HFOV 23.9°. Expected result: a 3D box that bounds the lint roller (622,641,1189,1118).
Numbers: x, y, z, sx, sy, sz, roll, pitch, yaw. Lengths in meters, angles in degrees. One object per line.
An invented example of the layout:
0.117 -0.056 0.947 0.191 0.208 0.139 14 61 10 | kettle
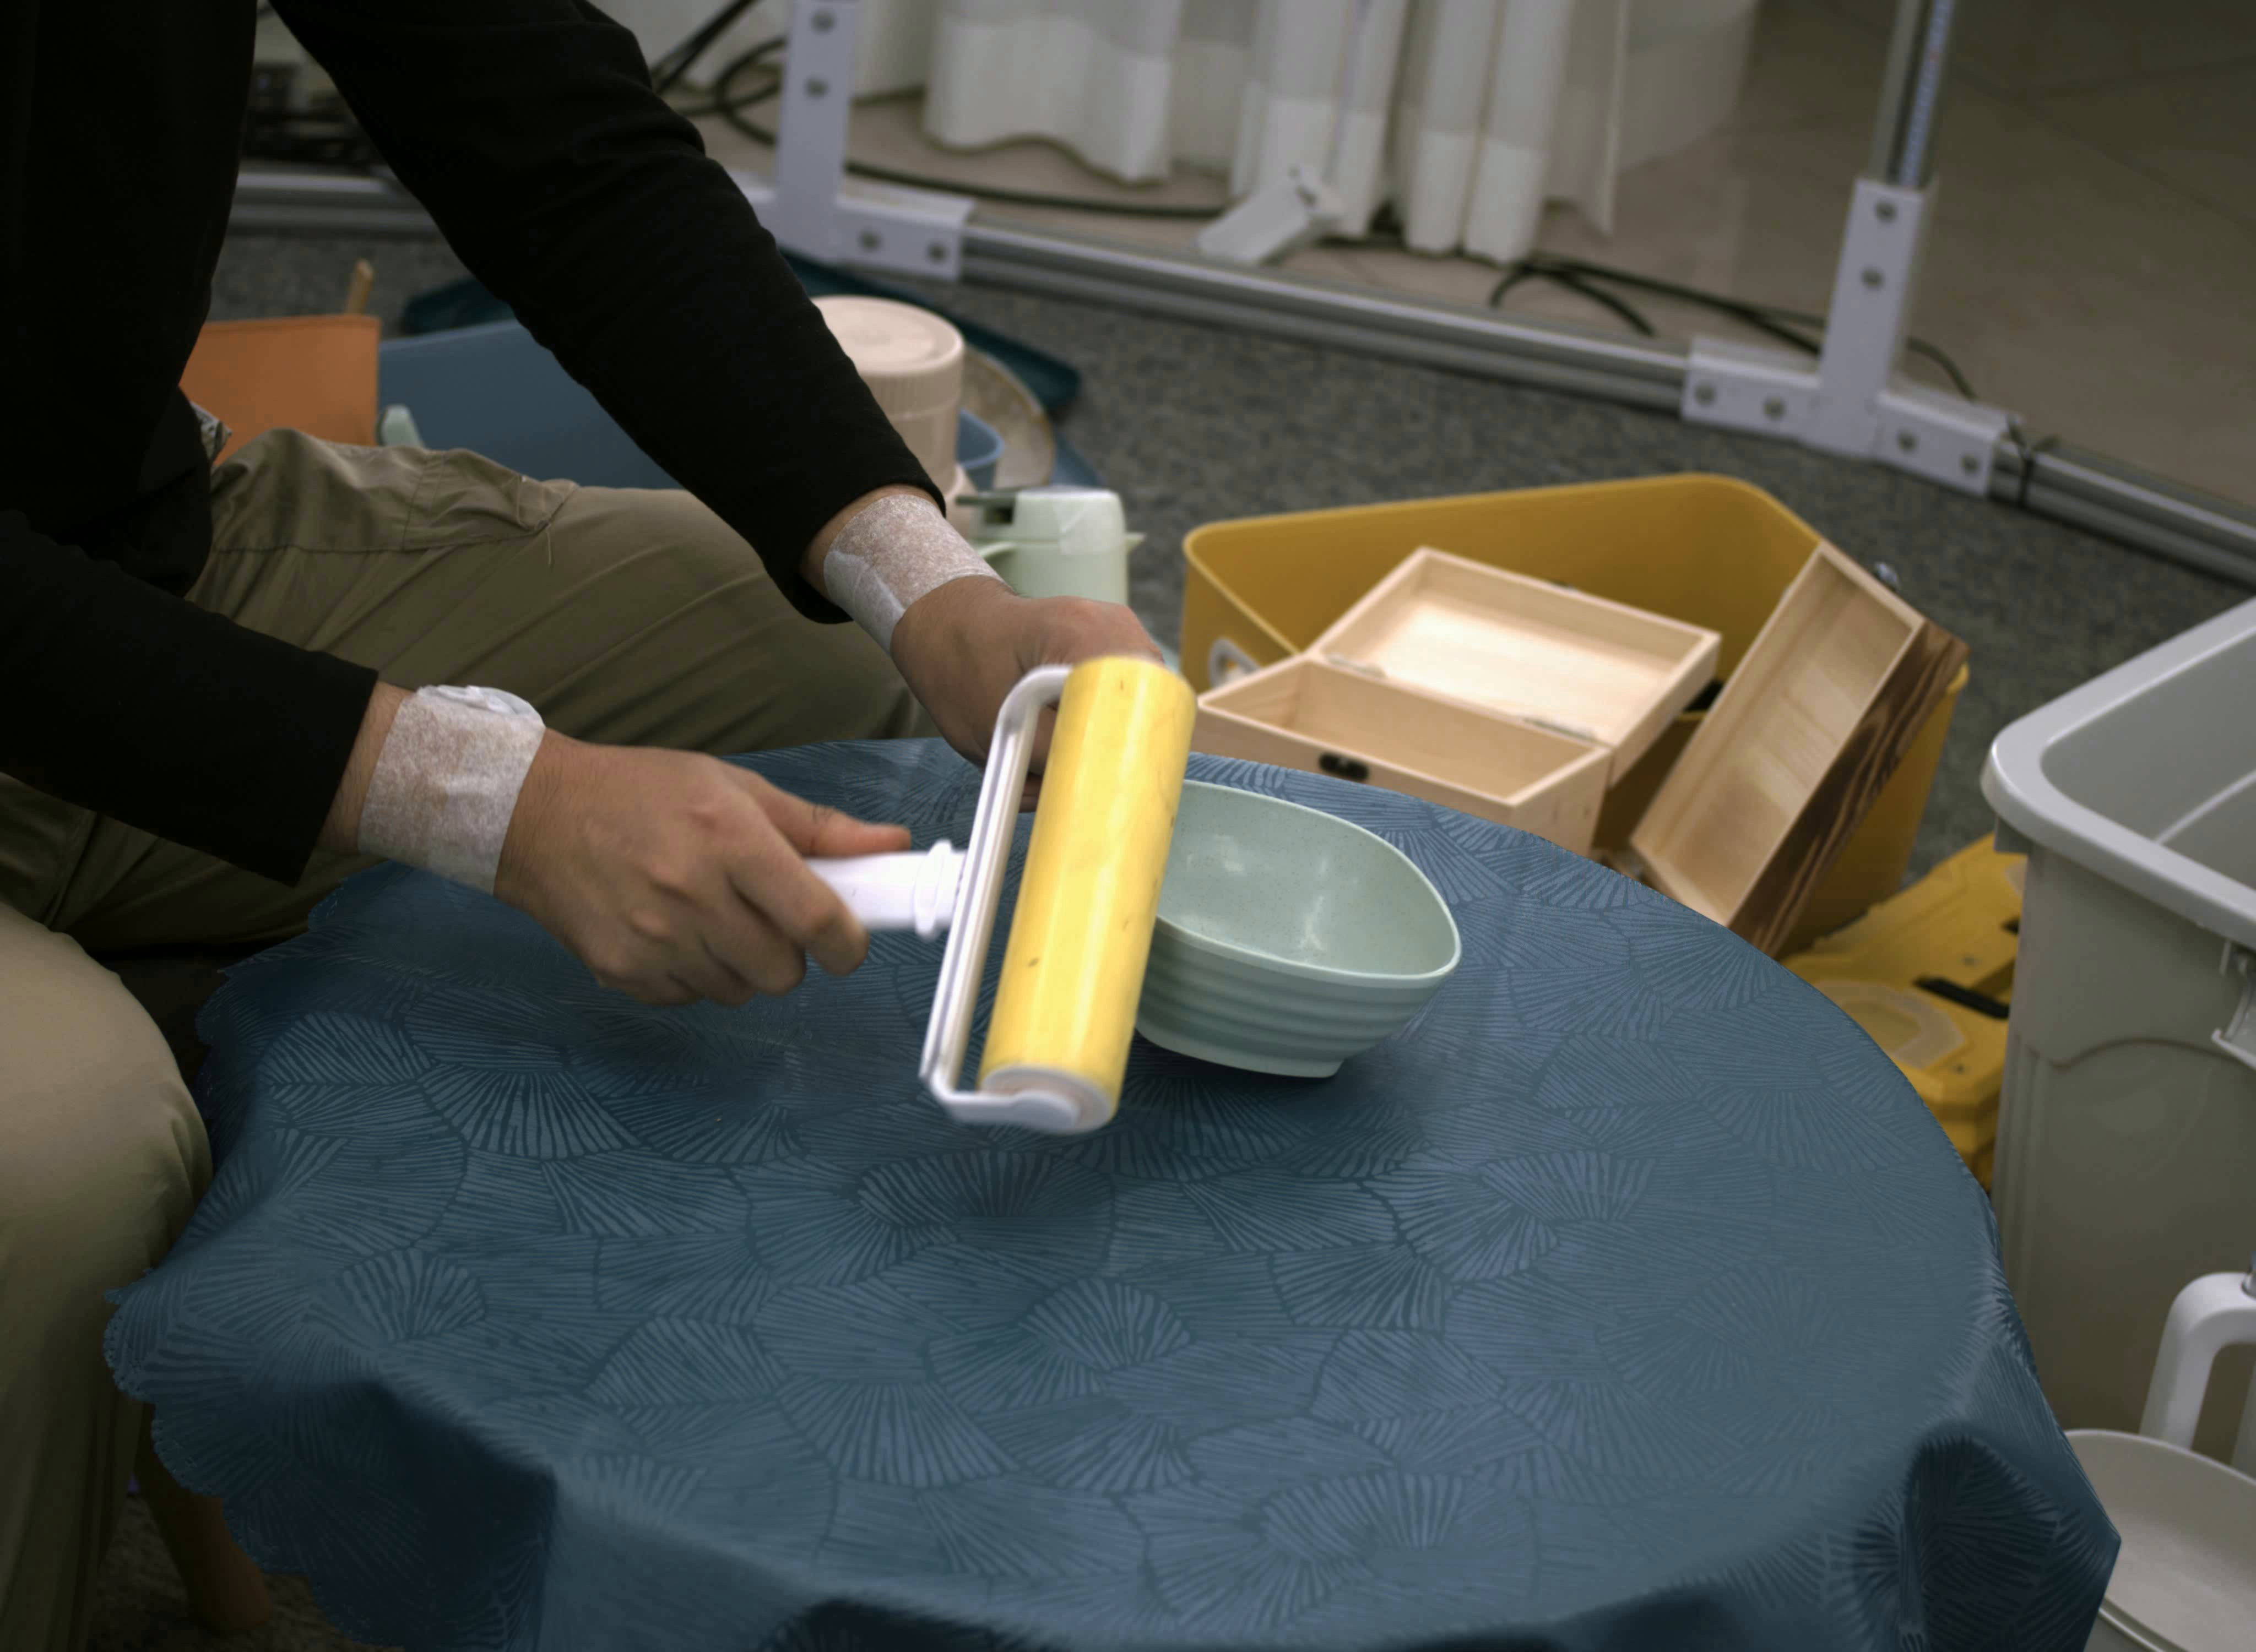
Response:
-0.082 0.015 1.809 0.192 0.051 0.175 2 59 9 | lint roller

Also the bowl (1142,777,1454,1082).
0.040 0.042 1.891 0.151 0.058 0.152 17 23 -8 | bowl
